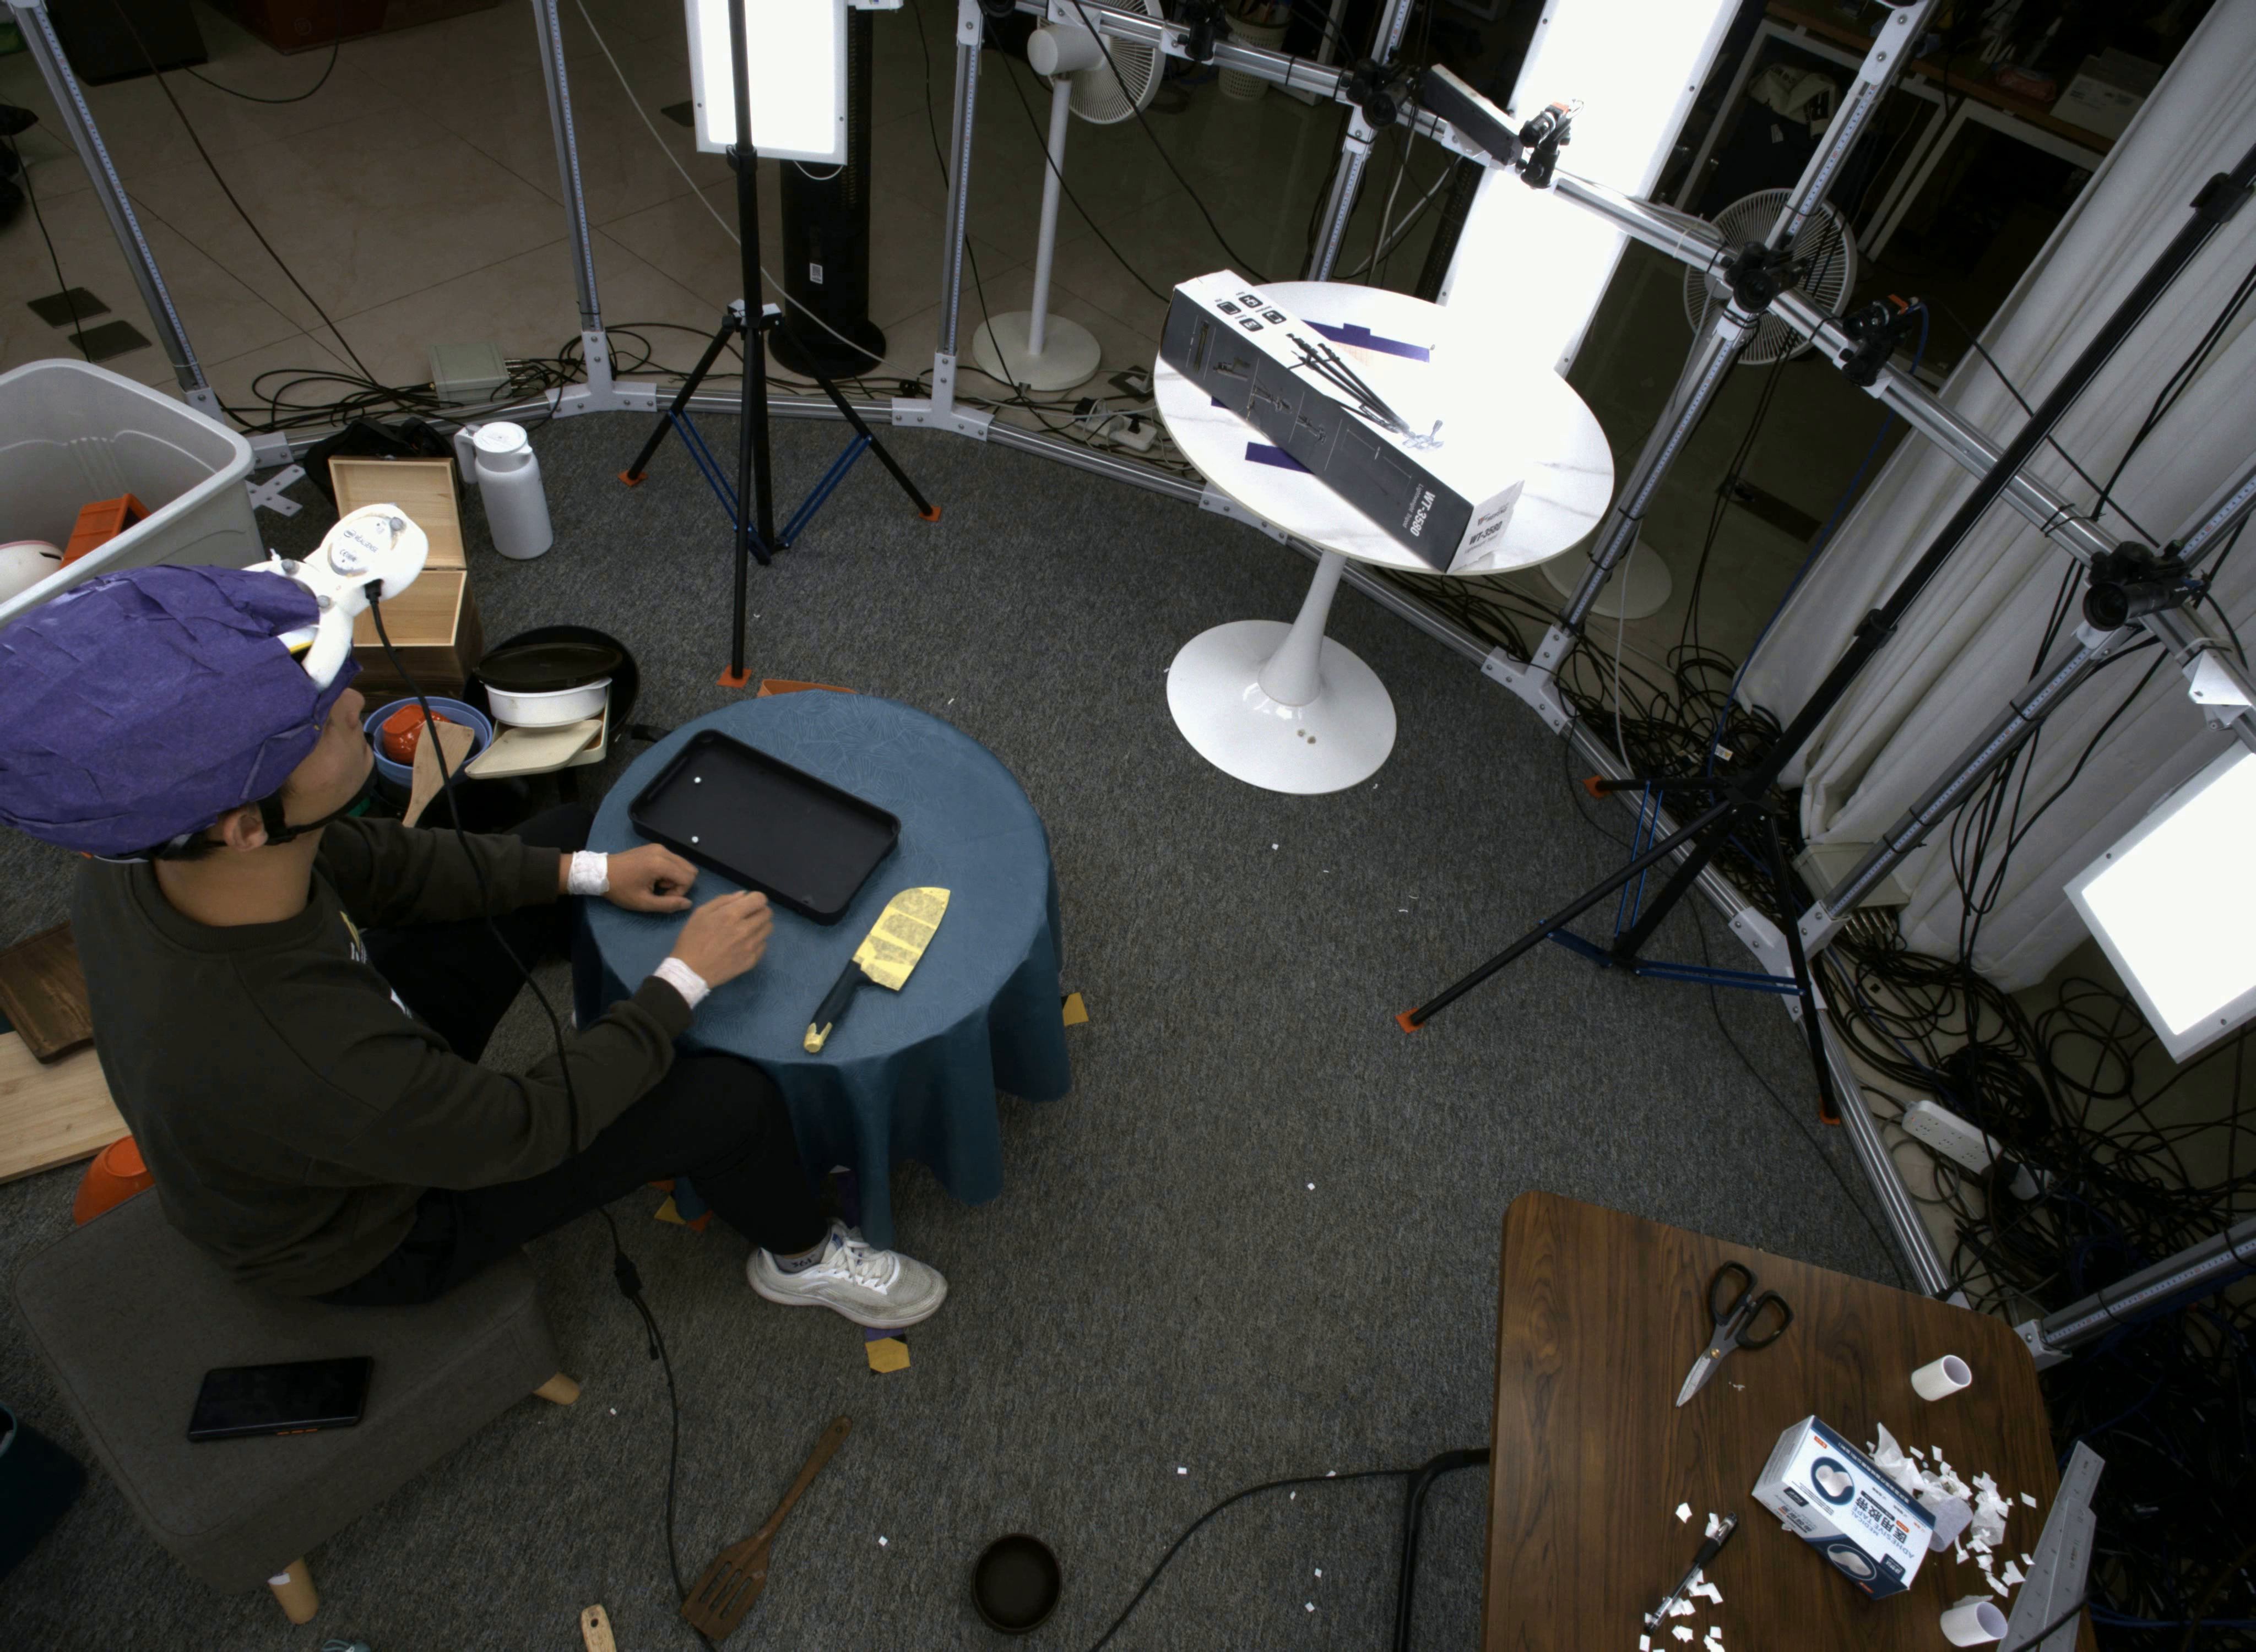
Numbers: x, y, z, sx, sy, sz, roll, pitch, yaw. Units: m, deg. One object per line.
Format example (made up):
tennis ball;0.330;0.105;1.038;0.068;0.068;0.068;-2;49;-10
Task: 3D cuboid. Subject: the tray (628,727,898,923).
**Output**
tray;-0.478;-0.005;1.702;0.314;0.038;0.183;24;53;4

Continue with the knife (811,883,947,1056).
knife;-0.308;0.173;1.627;0.080;0.028;0.287;24;51;7
